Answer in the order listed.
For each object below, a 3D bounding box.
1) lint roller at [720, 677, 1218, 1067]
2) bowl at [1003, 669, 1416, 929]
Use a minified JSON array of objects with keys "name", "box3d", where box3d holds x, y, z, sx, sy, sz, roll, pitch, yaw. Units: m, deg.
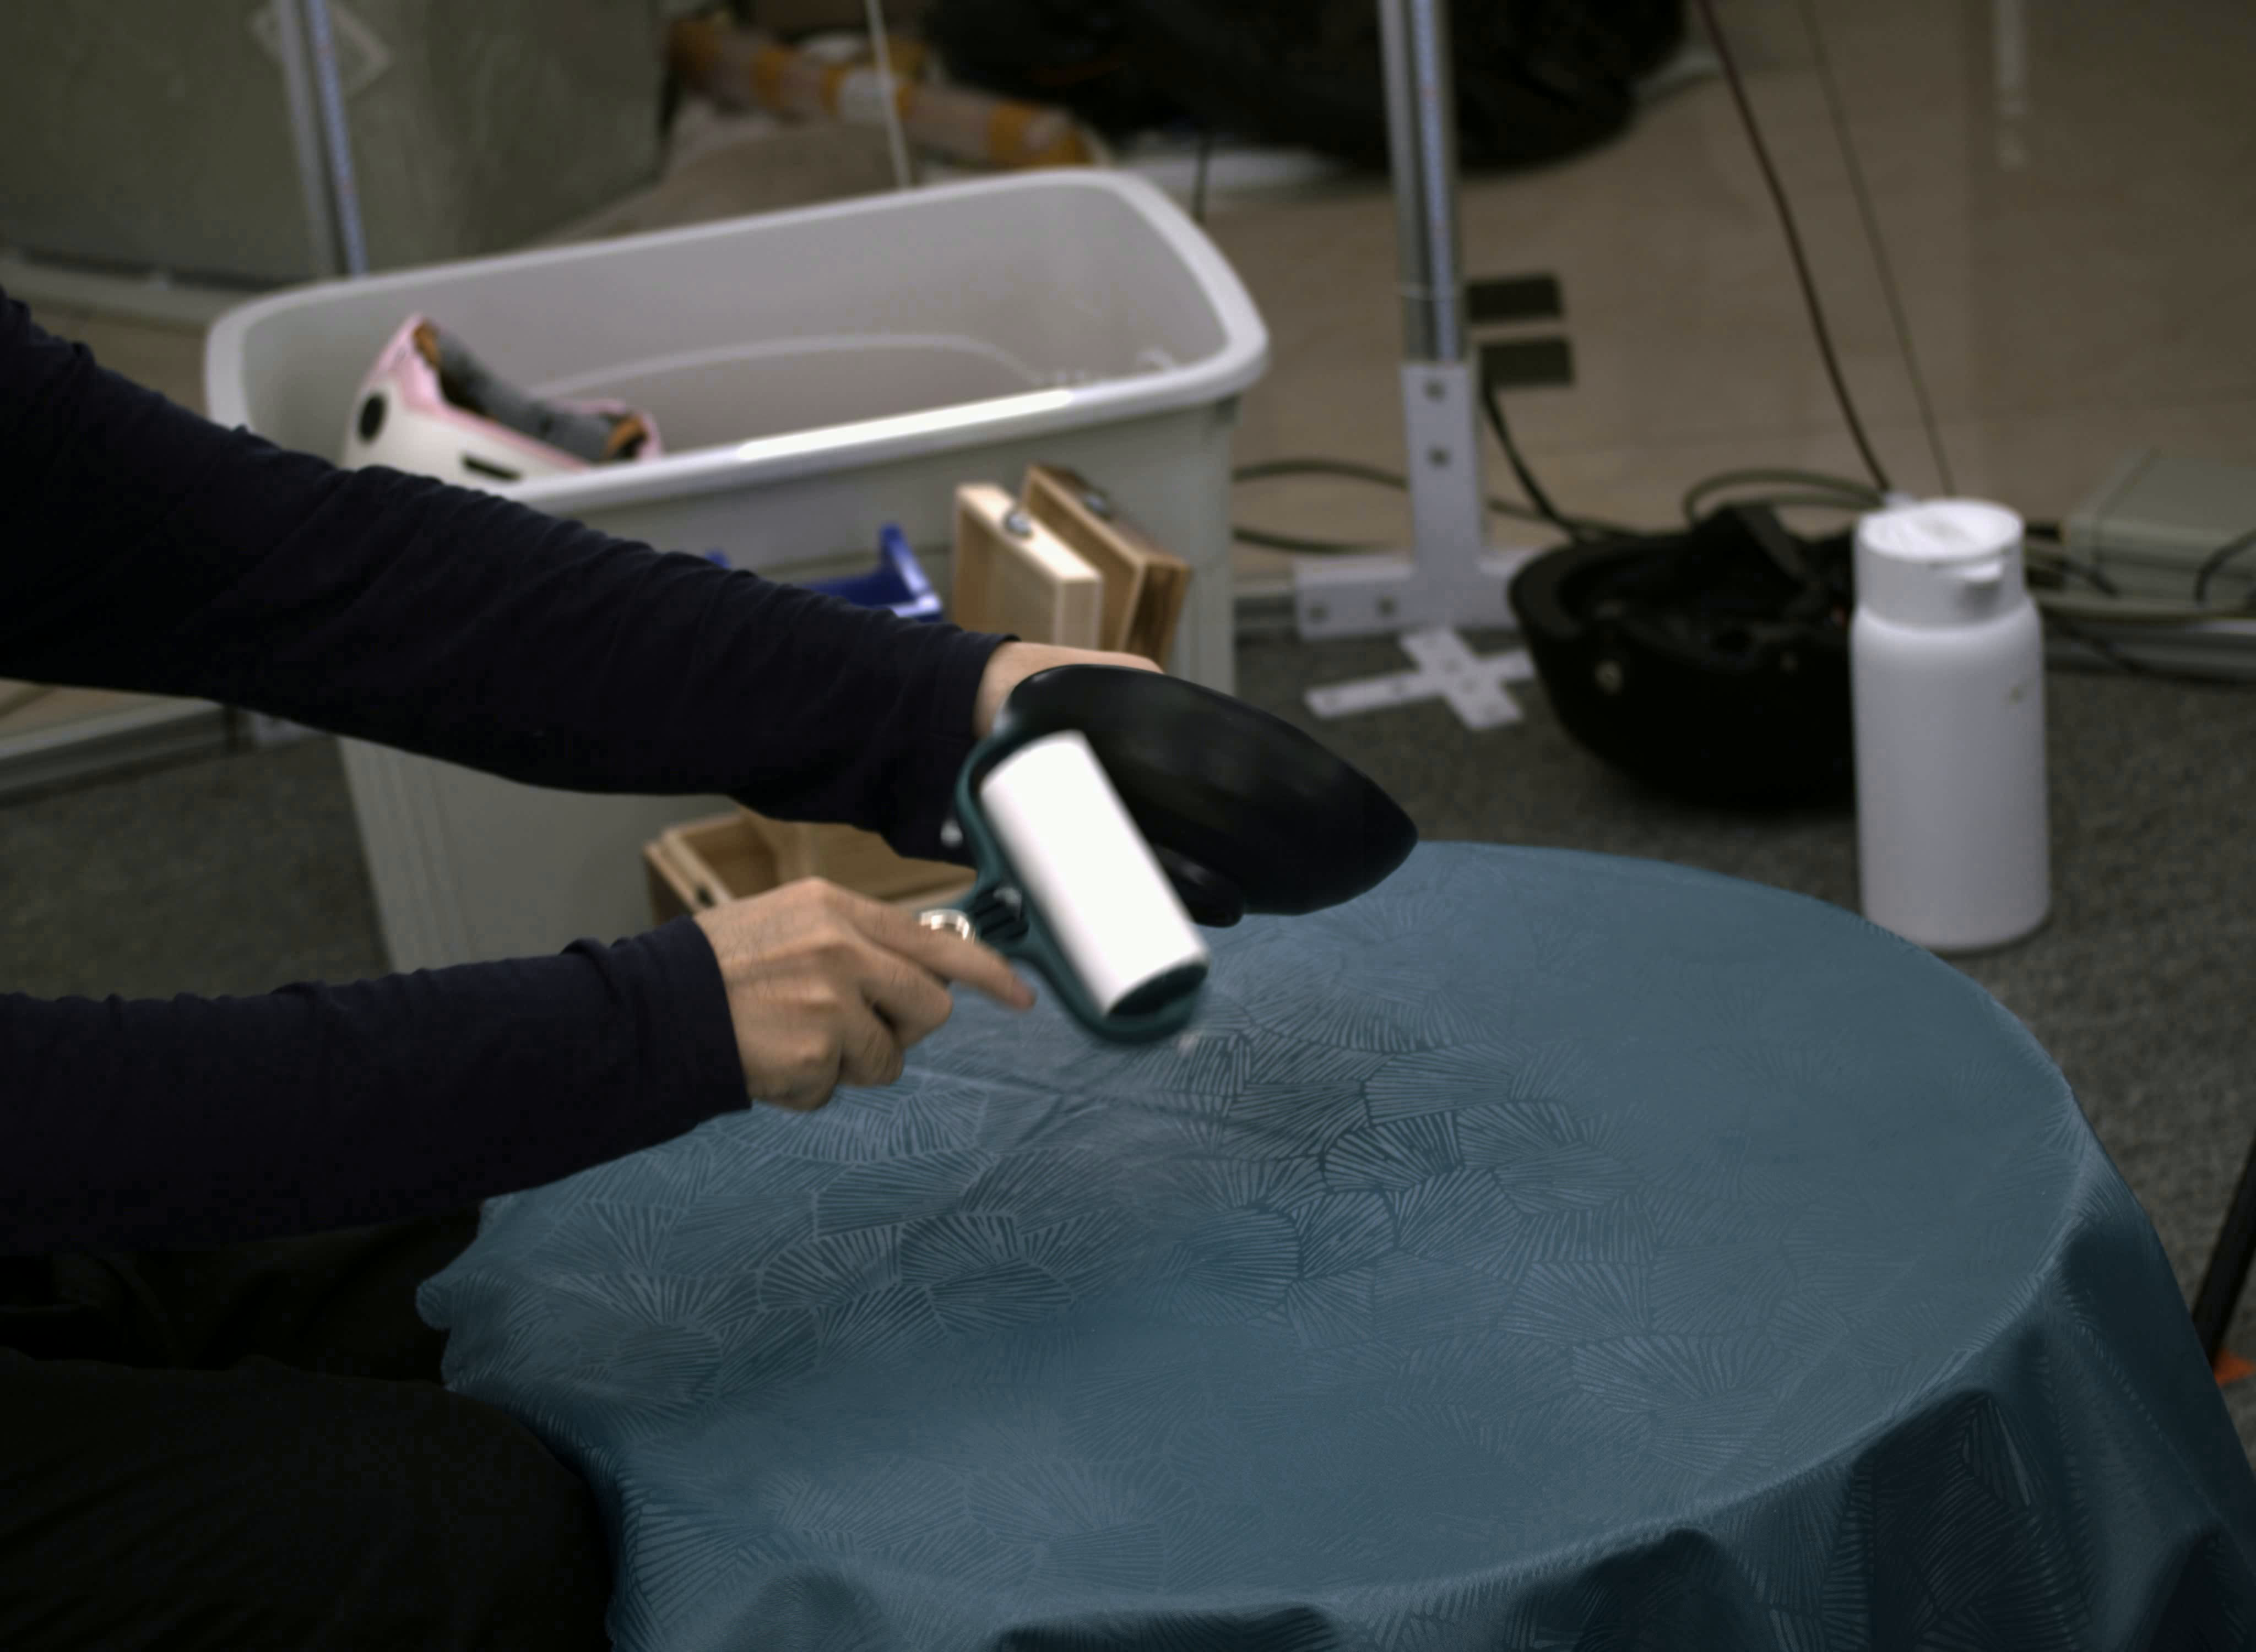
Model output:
[{"name":"lint roller","box3d":[-0.067,0.037,2.065,0.179,0.049,0.133,-25,74,-24]},{"name":"bowl","box3d":[0.022,-0.004,2.158,0.169,0.139,0.066,18,75,20]}]
